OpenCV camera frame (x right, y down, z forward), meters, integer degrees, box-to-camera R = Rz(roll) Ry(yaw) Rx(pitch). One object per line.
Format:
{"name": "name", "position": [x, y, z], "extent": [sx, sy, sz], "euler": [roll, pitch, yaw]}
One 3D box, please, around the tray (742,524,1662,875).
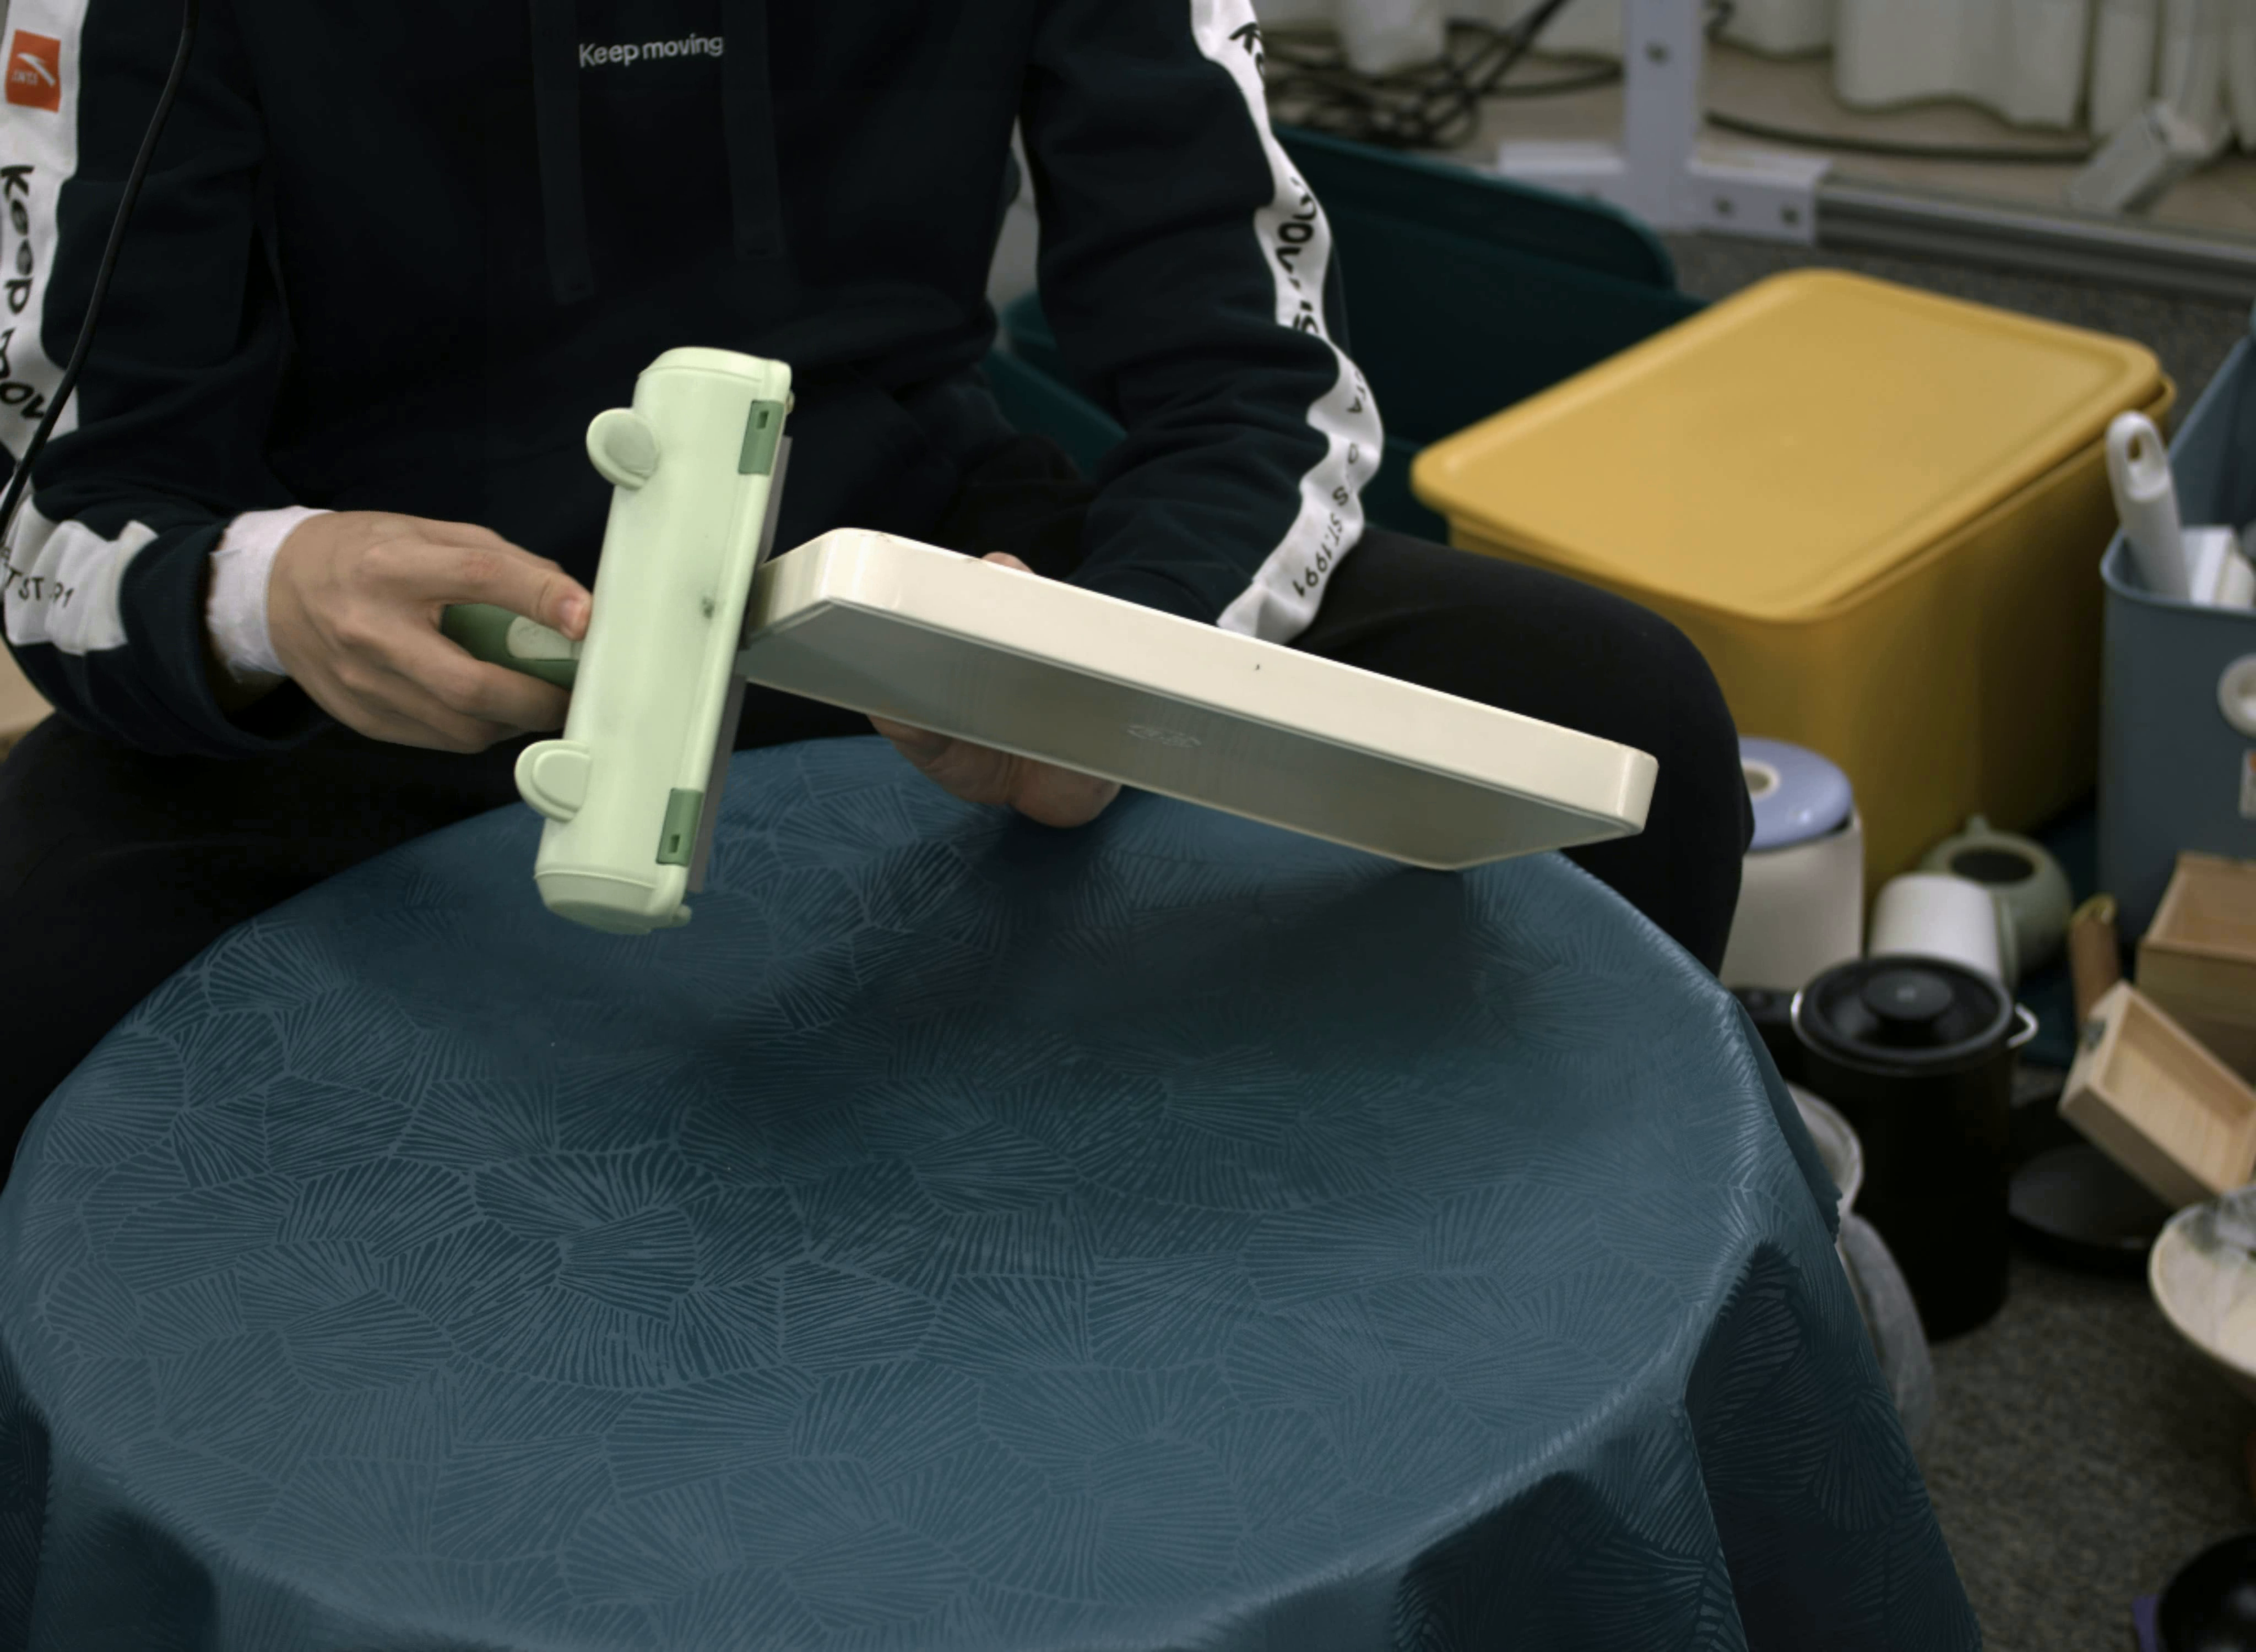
{"name": "tray", "position": [0.014, -0.039, 1.928], "extent": [0.299, 0.028, 0.190], "euler": [16, -11, -17]}

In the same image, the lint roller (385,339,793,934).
{"name": "lint roller", "position": [-0.201, -0.066, 1.902], "extent": [0.181, 0.201, 0.082], "euler": [1, -17, 34]}
